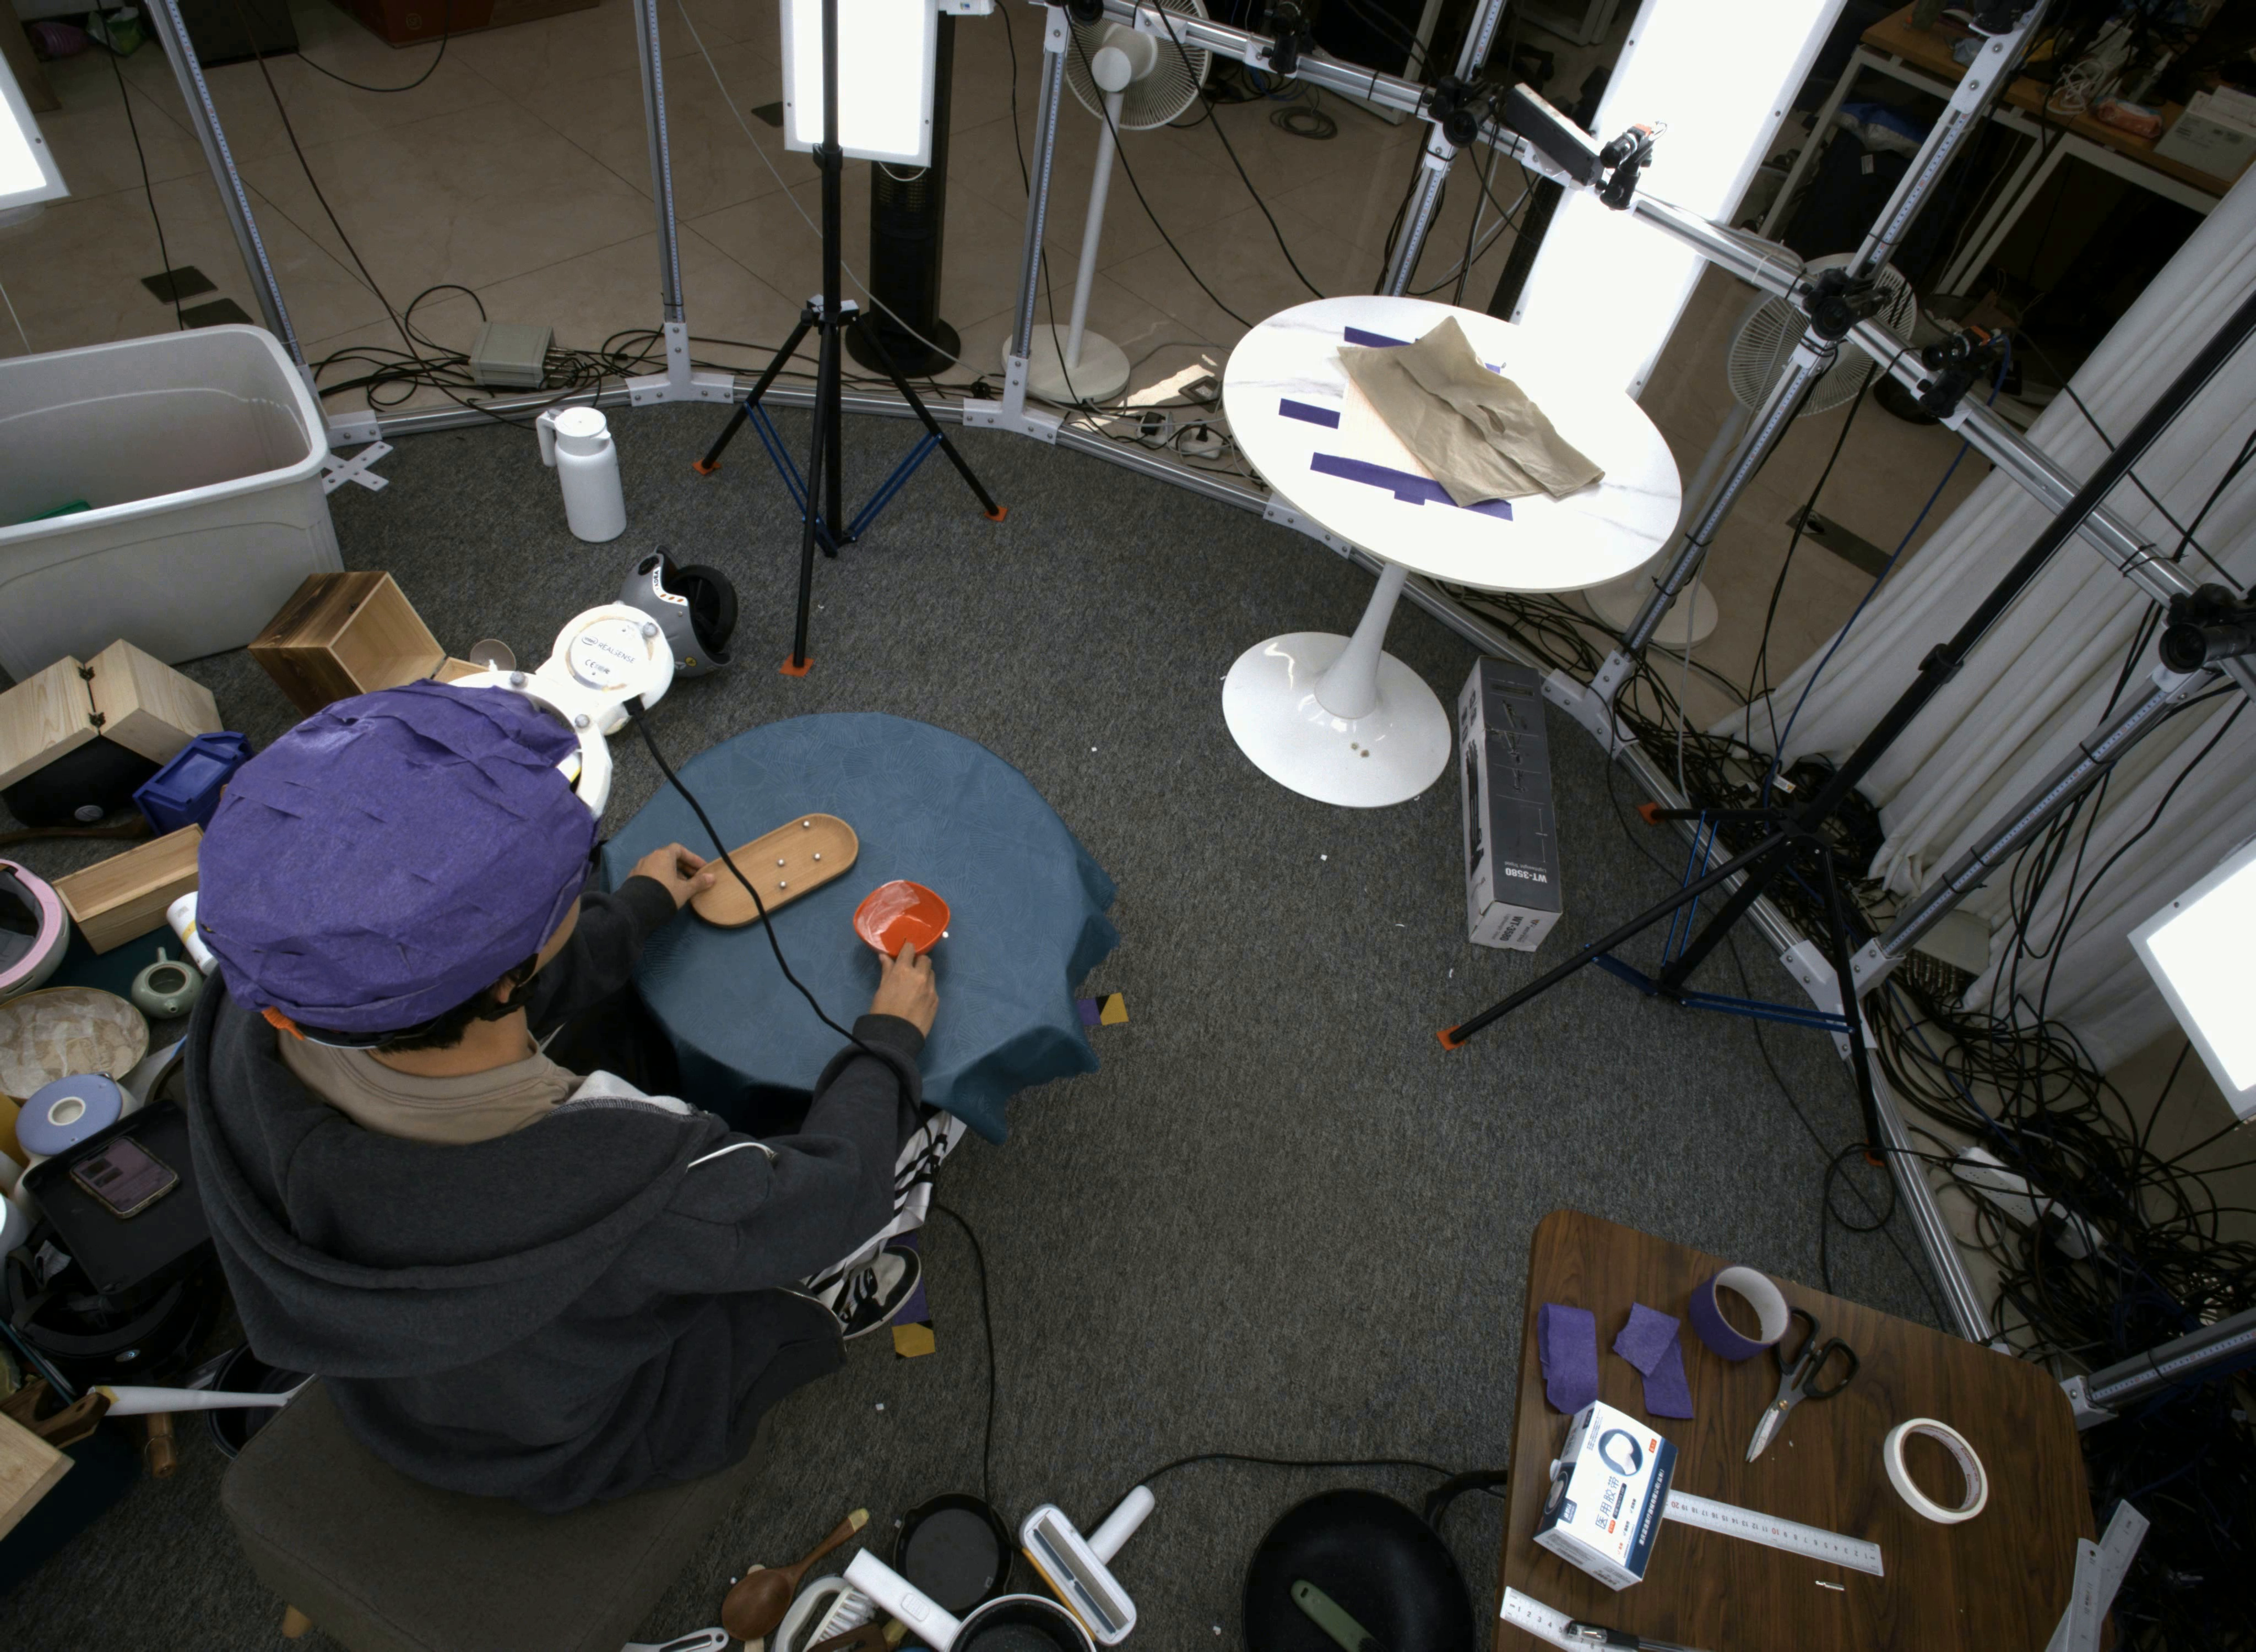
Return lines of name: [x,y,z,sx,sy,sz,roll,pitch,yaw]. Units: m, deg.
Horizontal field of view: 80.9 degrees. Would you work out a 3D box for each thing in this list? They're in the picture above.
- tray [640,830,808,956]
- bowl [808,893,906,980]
tray: [-0.509,0.081,1.634,0.099,0.021,0.231,43,56,16]
bowl: [-0.332,0.142,1.601,0.118,0.053,0.116,5,48,-4]
